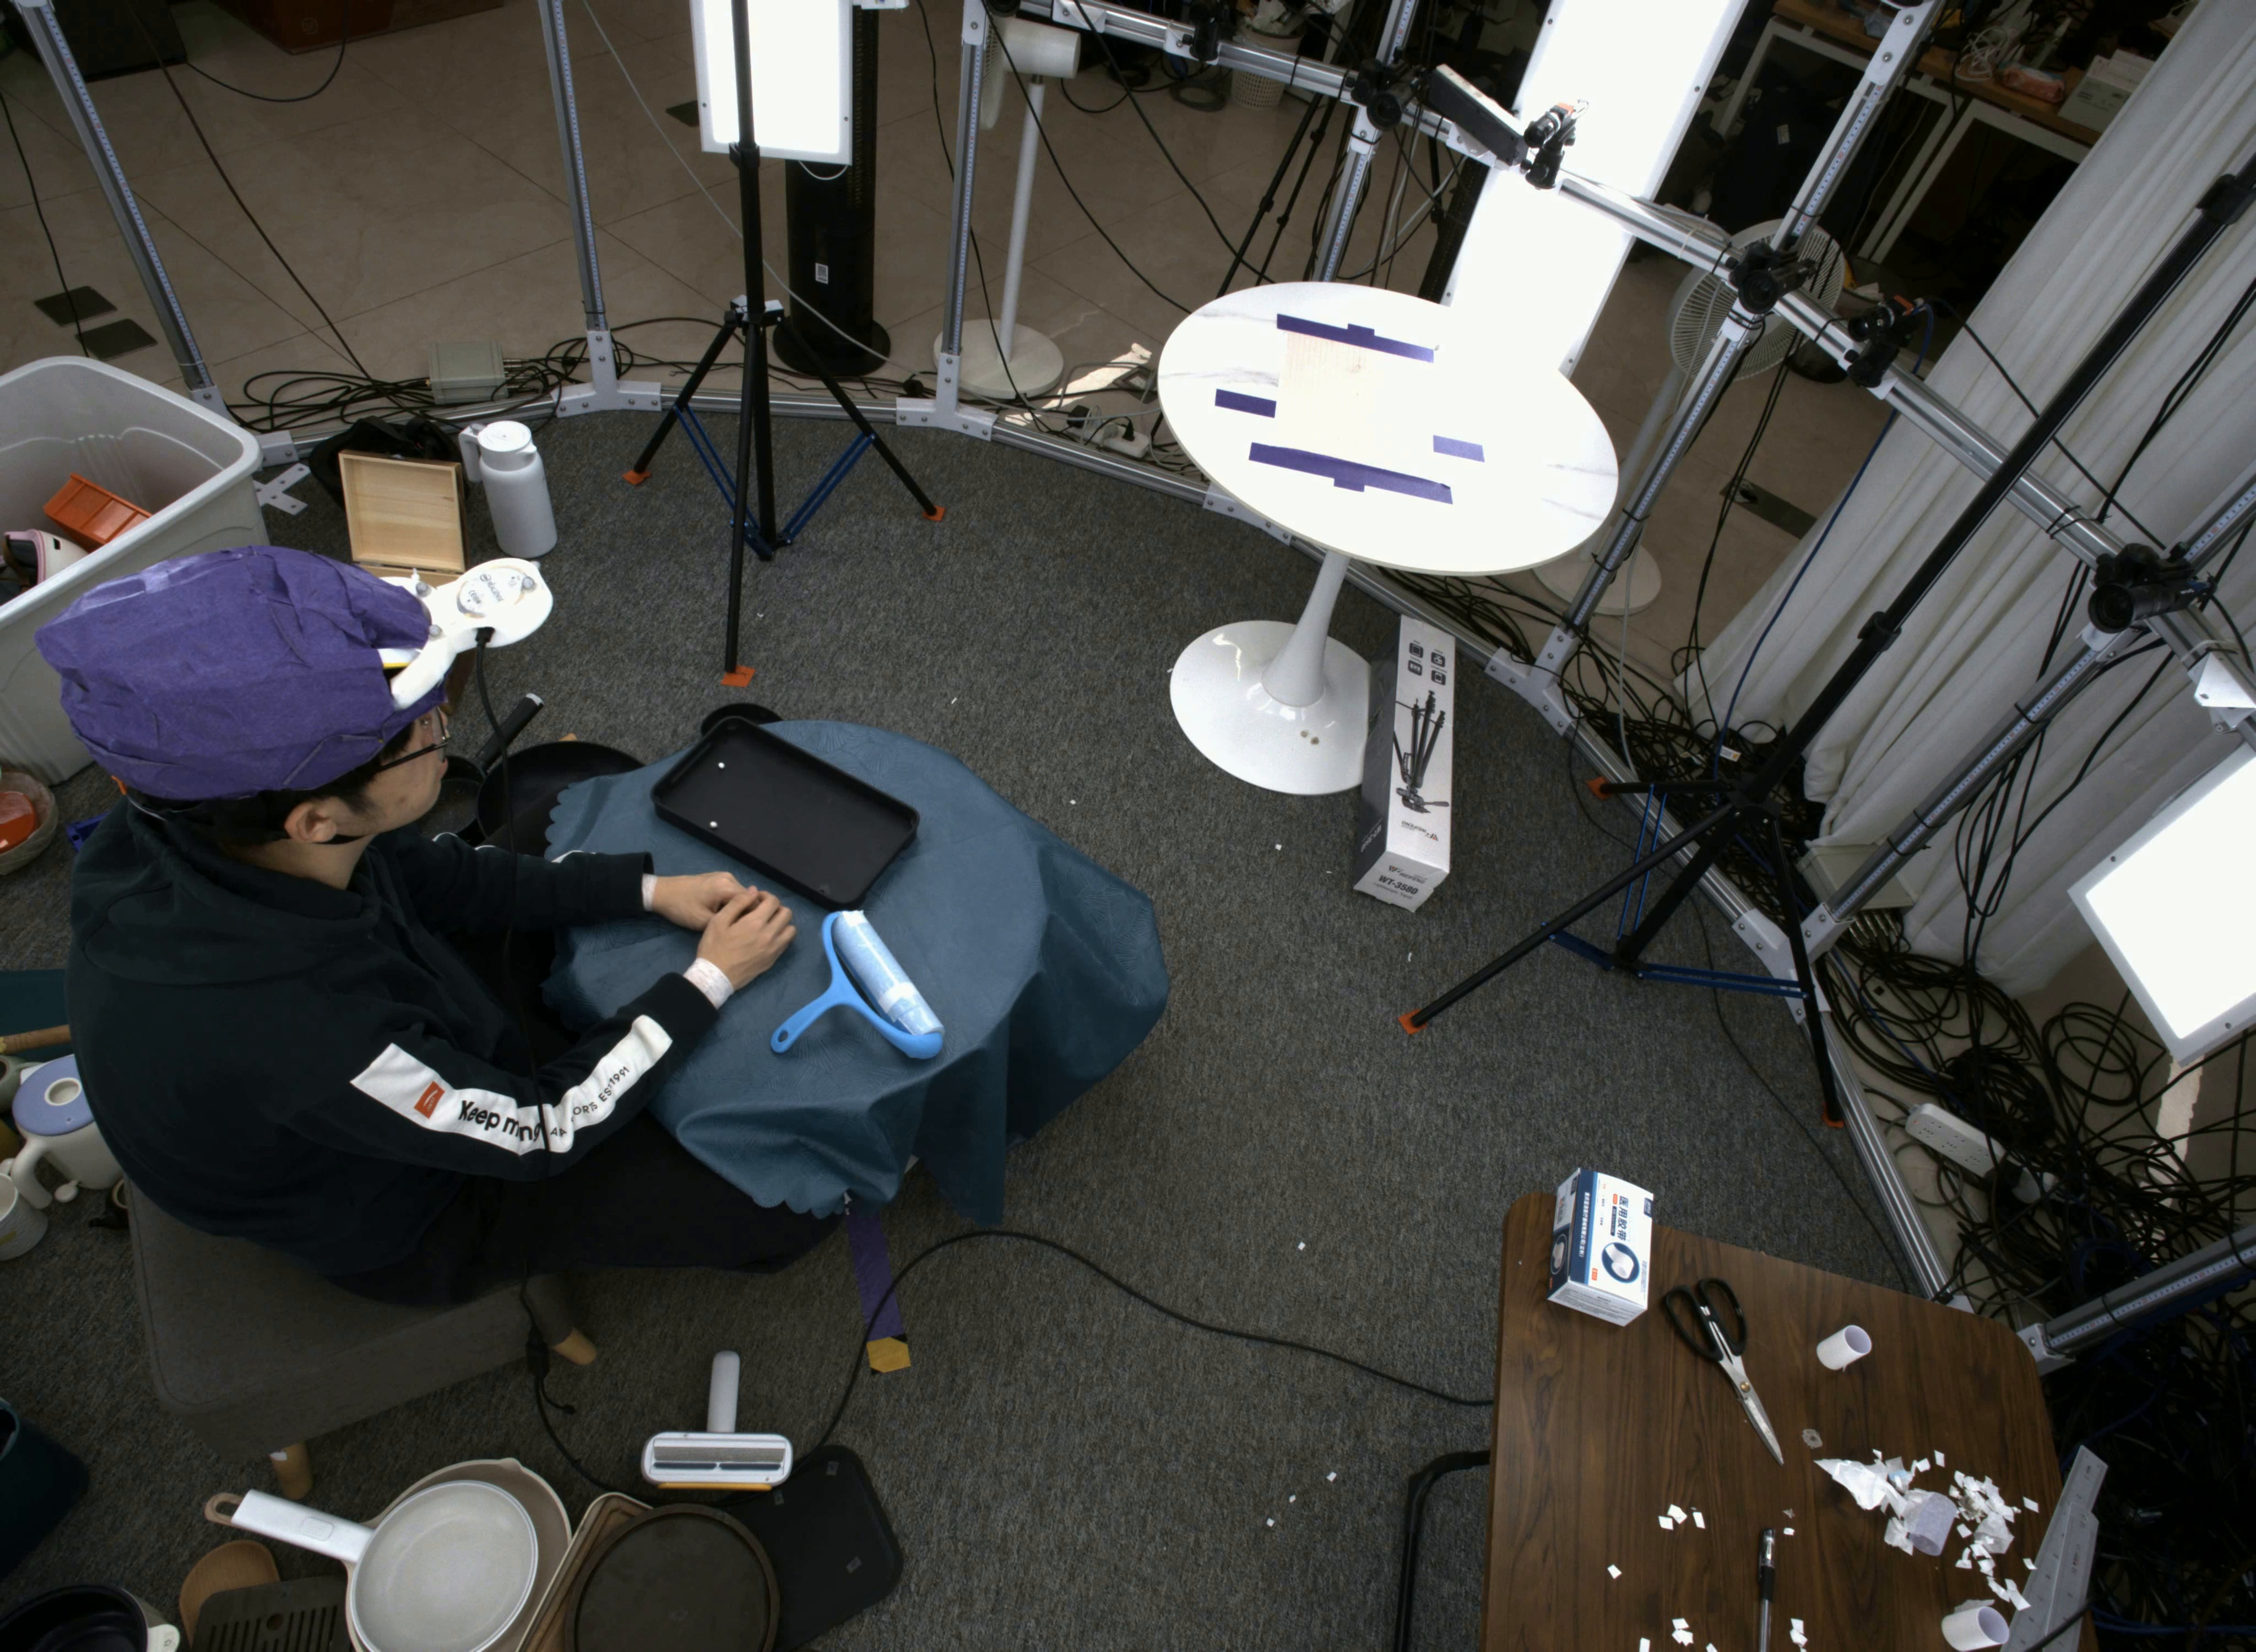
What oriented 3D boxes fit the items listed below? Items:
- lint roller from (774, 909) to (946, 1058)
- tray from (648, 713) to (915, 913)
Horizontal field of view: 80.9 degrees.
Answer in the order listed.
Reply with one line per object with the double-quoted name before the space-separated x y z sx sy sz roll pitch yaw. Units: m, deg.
"lint roller" -0.342 0.211 1.558 0.181 0.069 0.224 -29 68 -32
"tray" -0.457 -0.021 1.714 0.314 0.038 0.183 27 53 4
